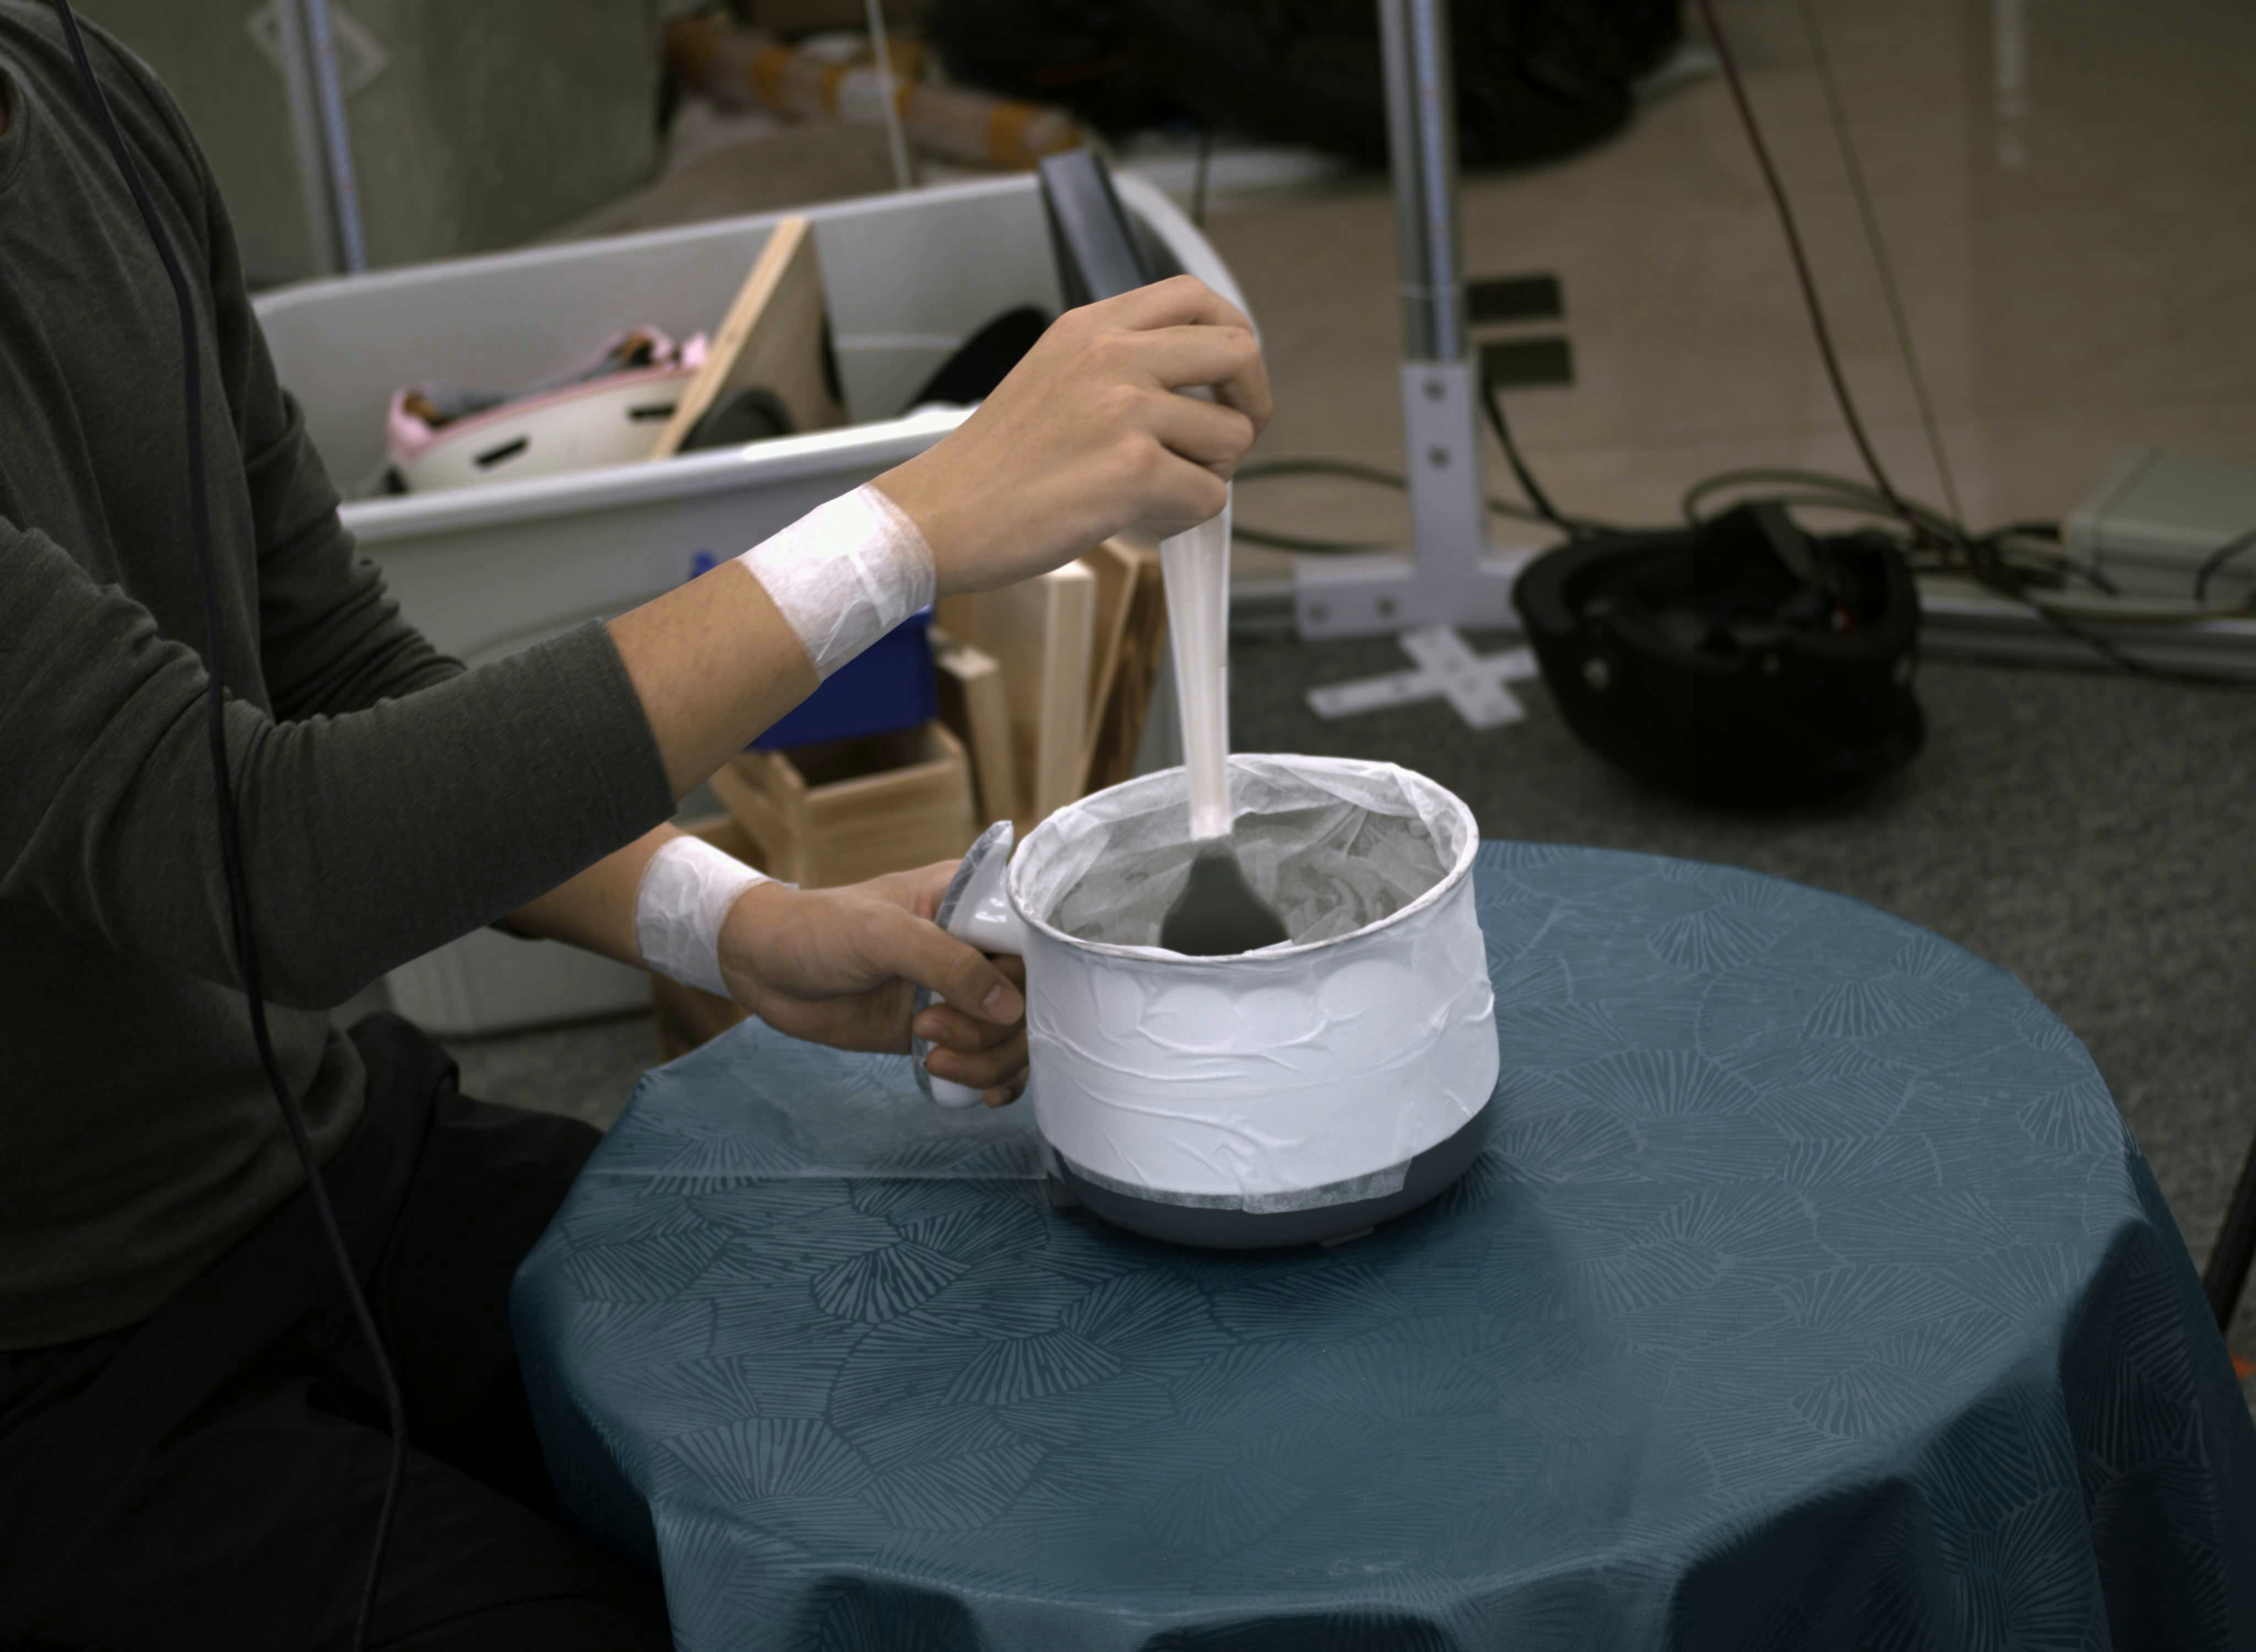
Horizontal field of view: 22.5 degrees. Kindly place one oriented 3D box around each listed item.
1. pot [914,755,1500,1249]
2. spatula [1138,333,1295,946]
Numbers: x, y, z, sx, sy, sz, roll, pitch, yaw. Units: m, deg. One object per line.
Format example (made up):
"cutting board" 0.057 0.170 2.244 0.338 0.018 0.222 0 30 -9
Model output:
"pot" 0.024 0.066 2.139 0.233 0.139 0.176 4 27 22
"spatula" 0.032 -0.036 2.041 0.058 0.292 0.032 -2 24 8
